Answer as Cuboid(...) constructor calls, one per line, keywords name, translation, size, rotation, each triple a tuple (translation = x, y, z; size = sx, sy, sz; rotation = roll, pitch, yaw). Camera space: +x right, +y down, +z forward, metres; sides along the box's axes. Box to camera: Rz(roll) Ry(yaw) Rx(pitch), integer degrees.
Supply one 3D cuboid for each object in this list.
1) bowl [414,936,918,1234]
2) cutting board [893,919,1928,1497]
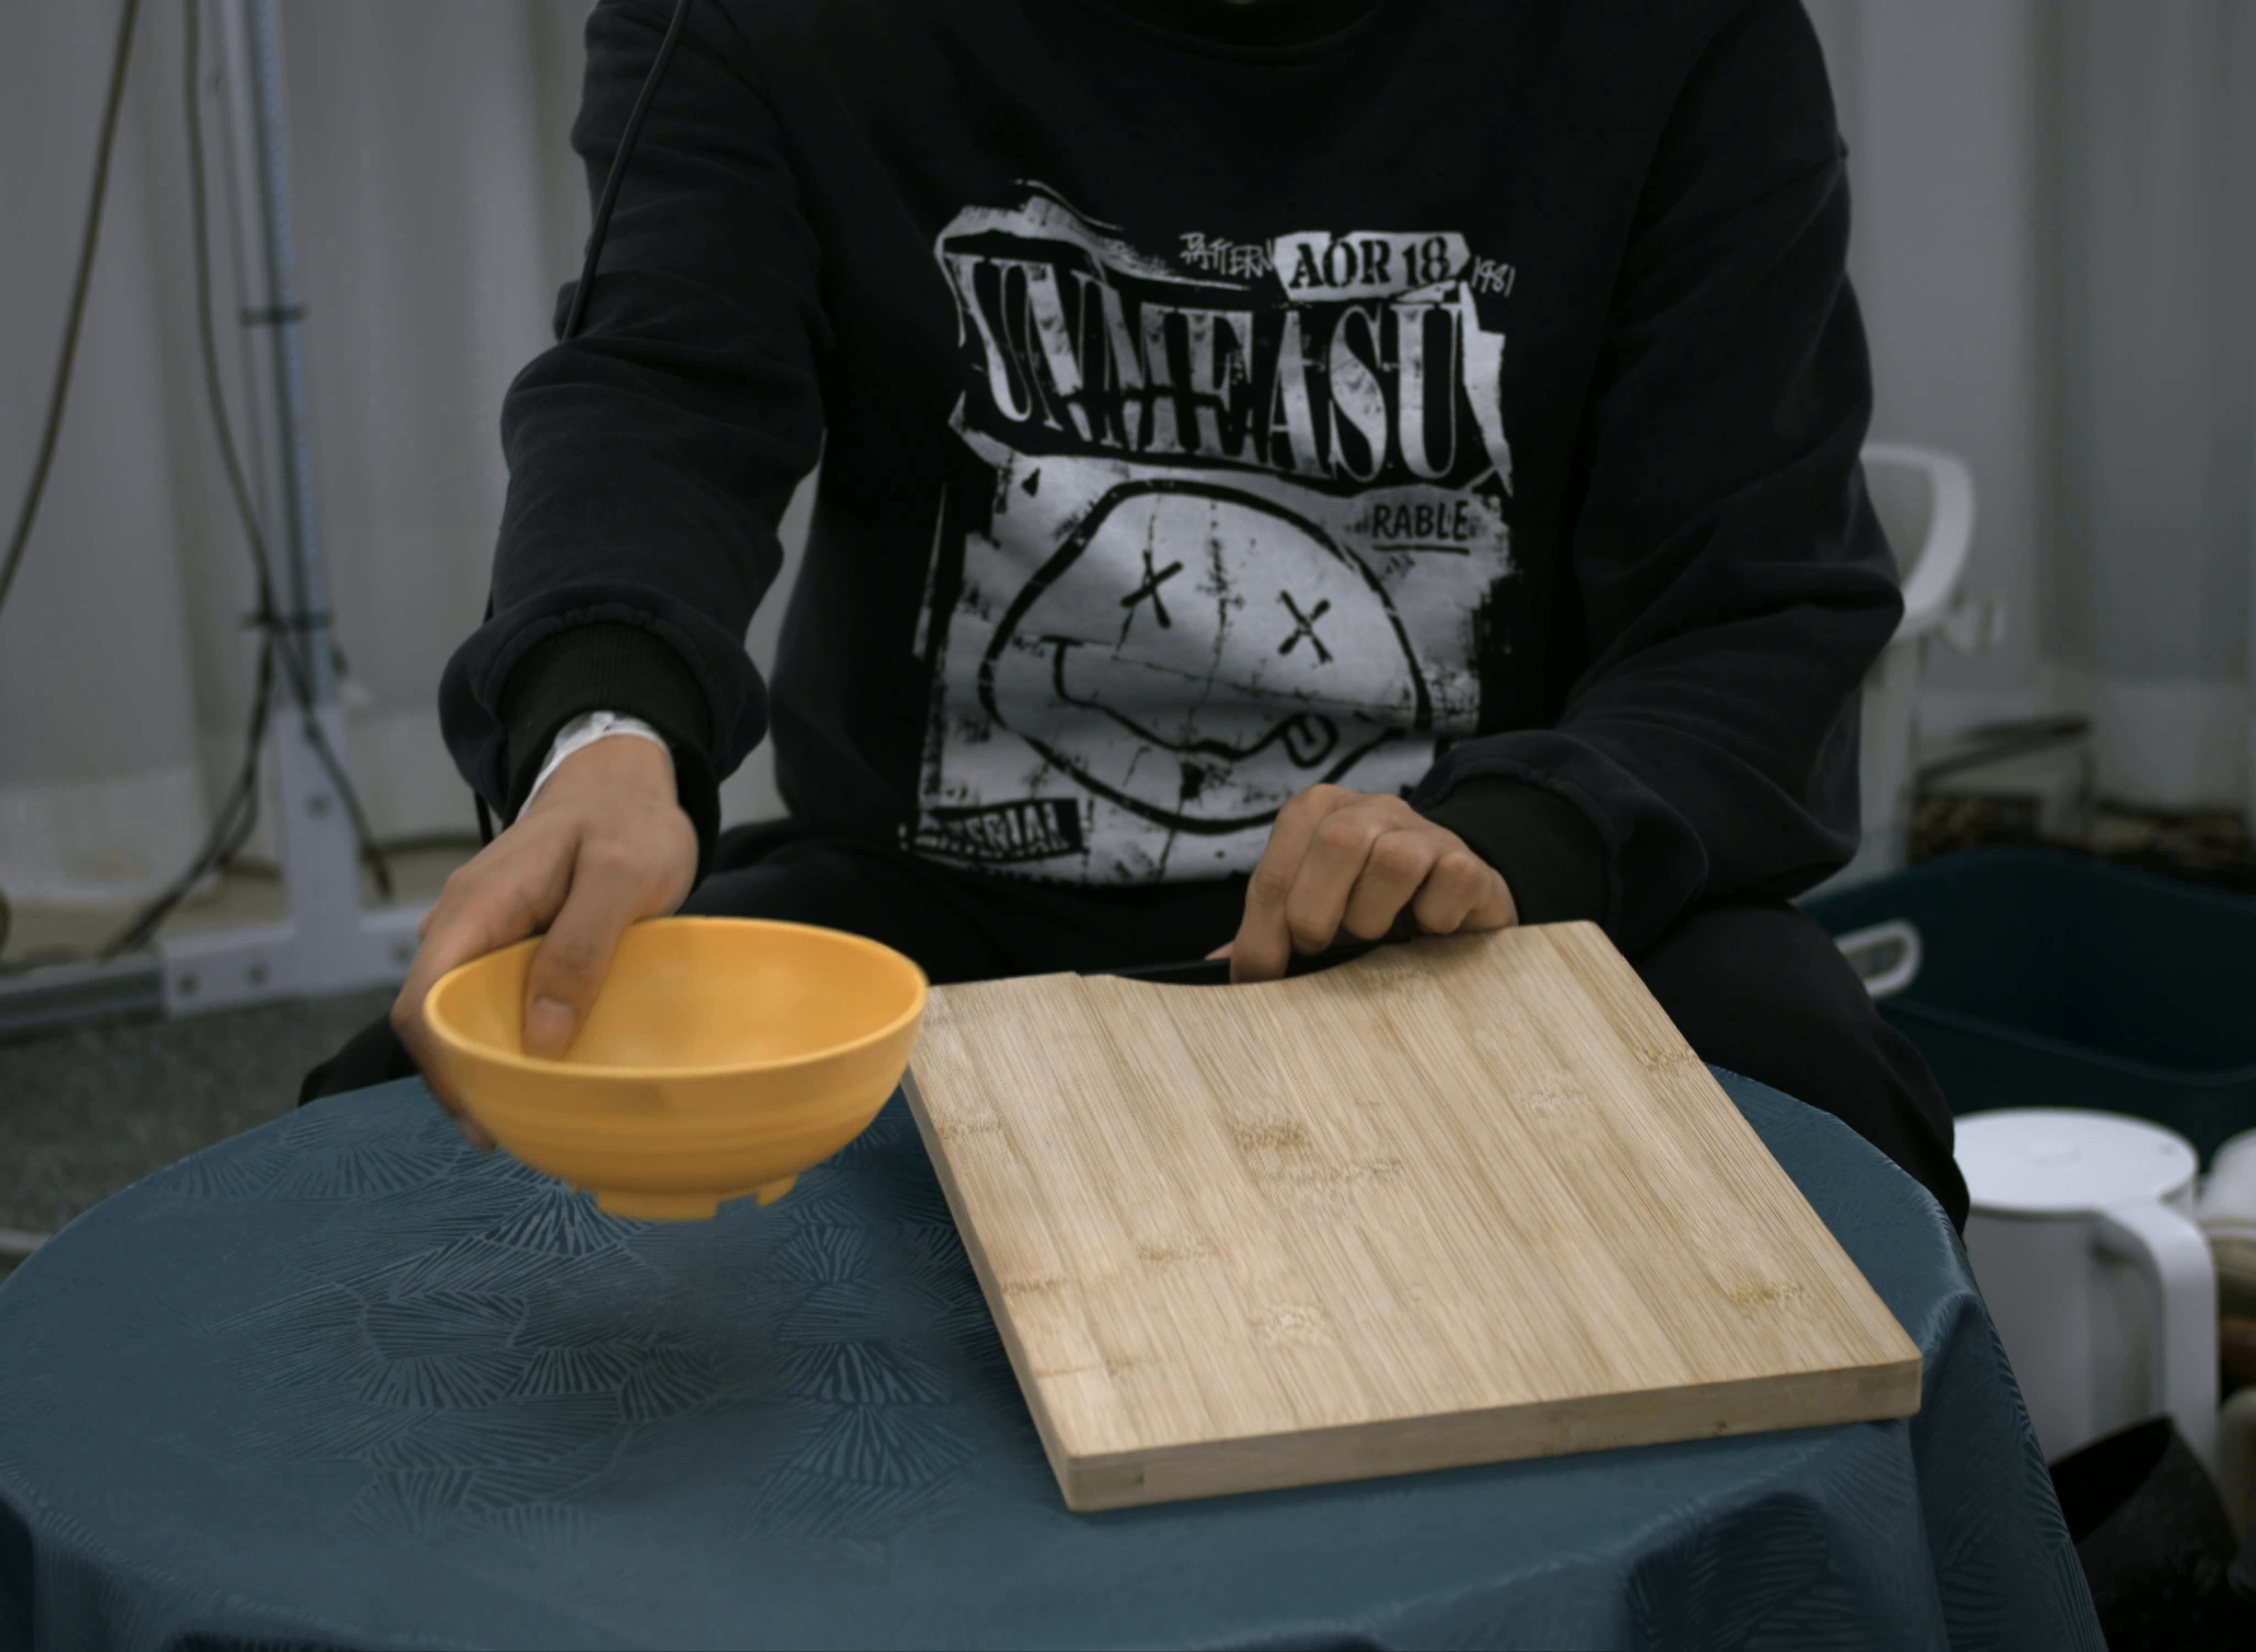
Cuboid(name="bowl", translation=(-0.133, 0.079, 1.578), size=(0.145, 0.060, 0.146), rotation=(0, 15, 0))
Cuboid(name="cutting board", translation=(0.070, 0.107, 1.637), size=(0.249, 0.023, 0.352), rotation=(-5, 20, -11))
